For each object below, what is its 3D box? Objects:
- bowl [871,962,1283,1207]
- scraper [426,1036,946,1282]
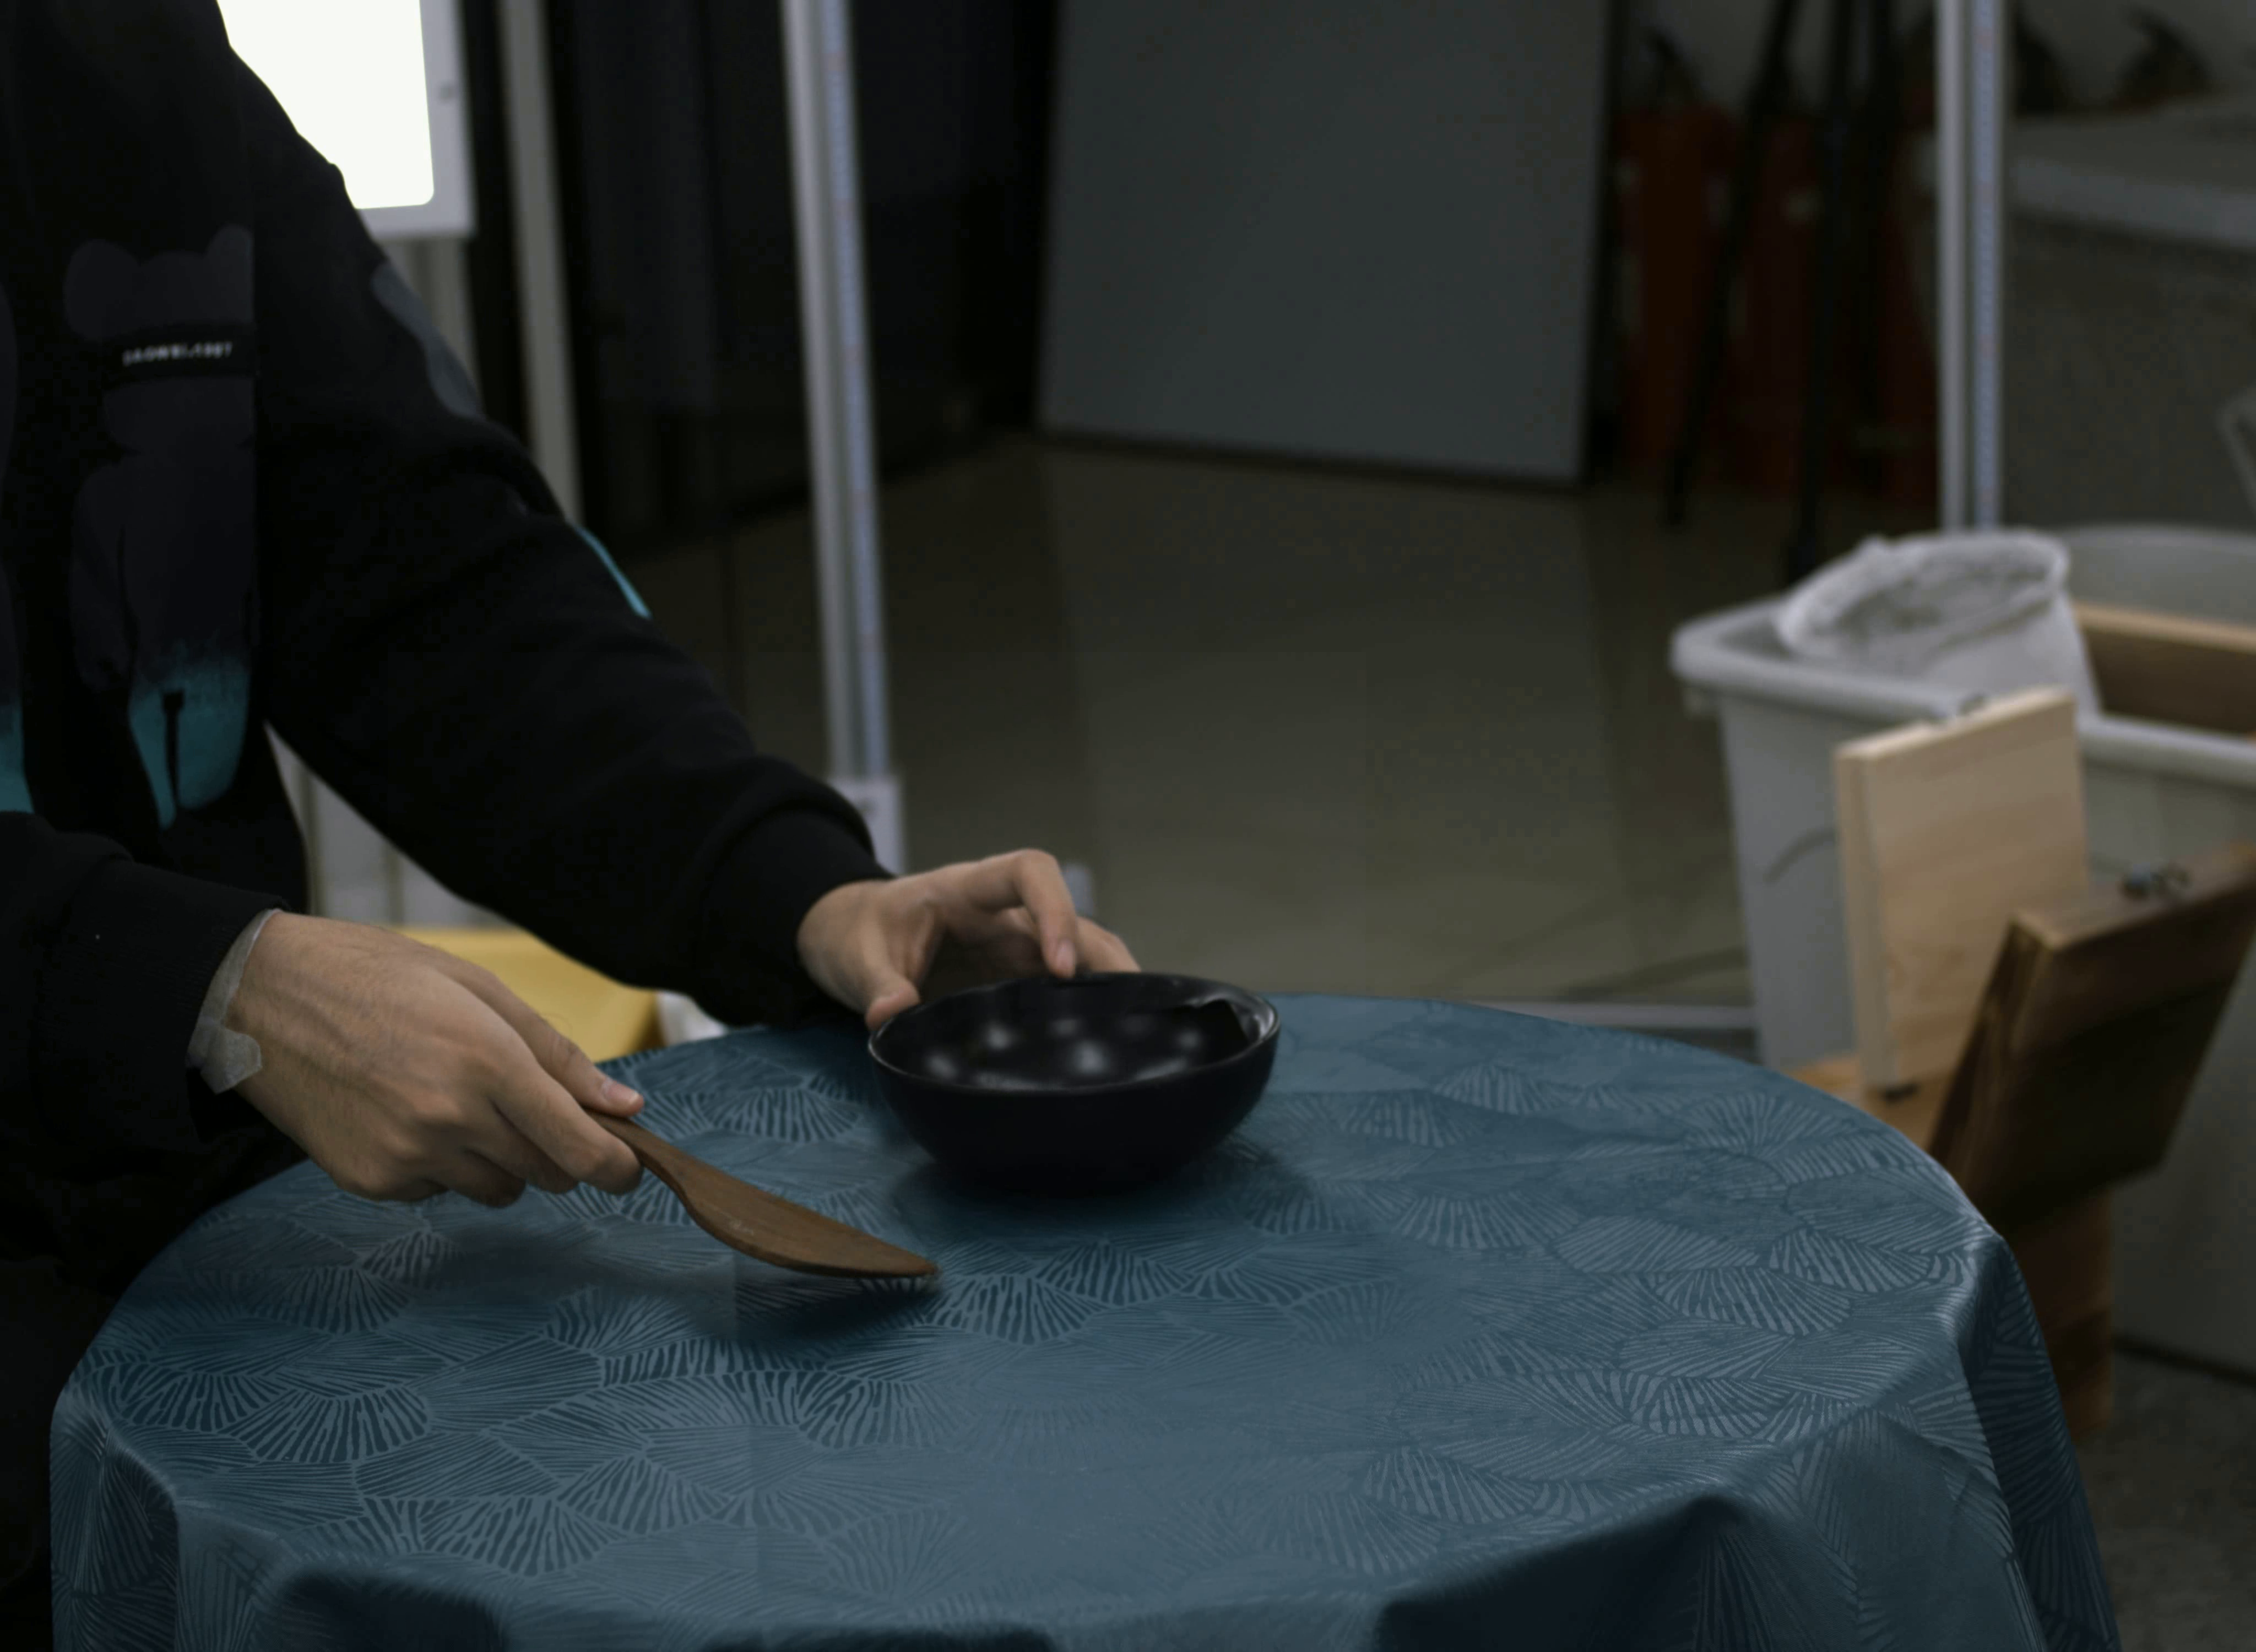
[{"bbox_3d":[-0.015,0.091,1.795,0.138,0.050,0.140,-5,17,1],"label":"bowl"},{"bbox_3d":[-0.149,0.106,1.723,0.213,0.011,0.074,25,8,38],"label":"scraper"}]
